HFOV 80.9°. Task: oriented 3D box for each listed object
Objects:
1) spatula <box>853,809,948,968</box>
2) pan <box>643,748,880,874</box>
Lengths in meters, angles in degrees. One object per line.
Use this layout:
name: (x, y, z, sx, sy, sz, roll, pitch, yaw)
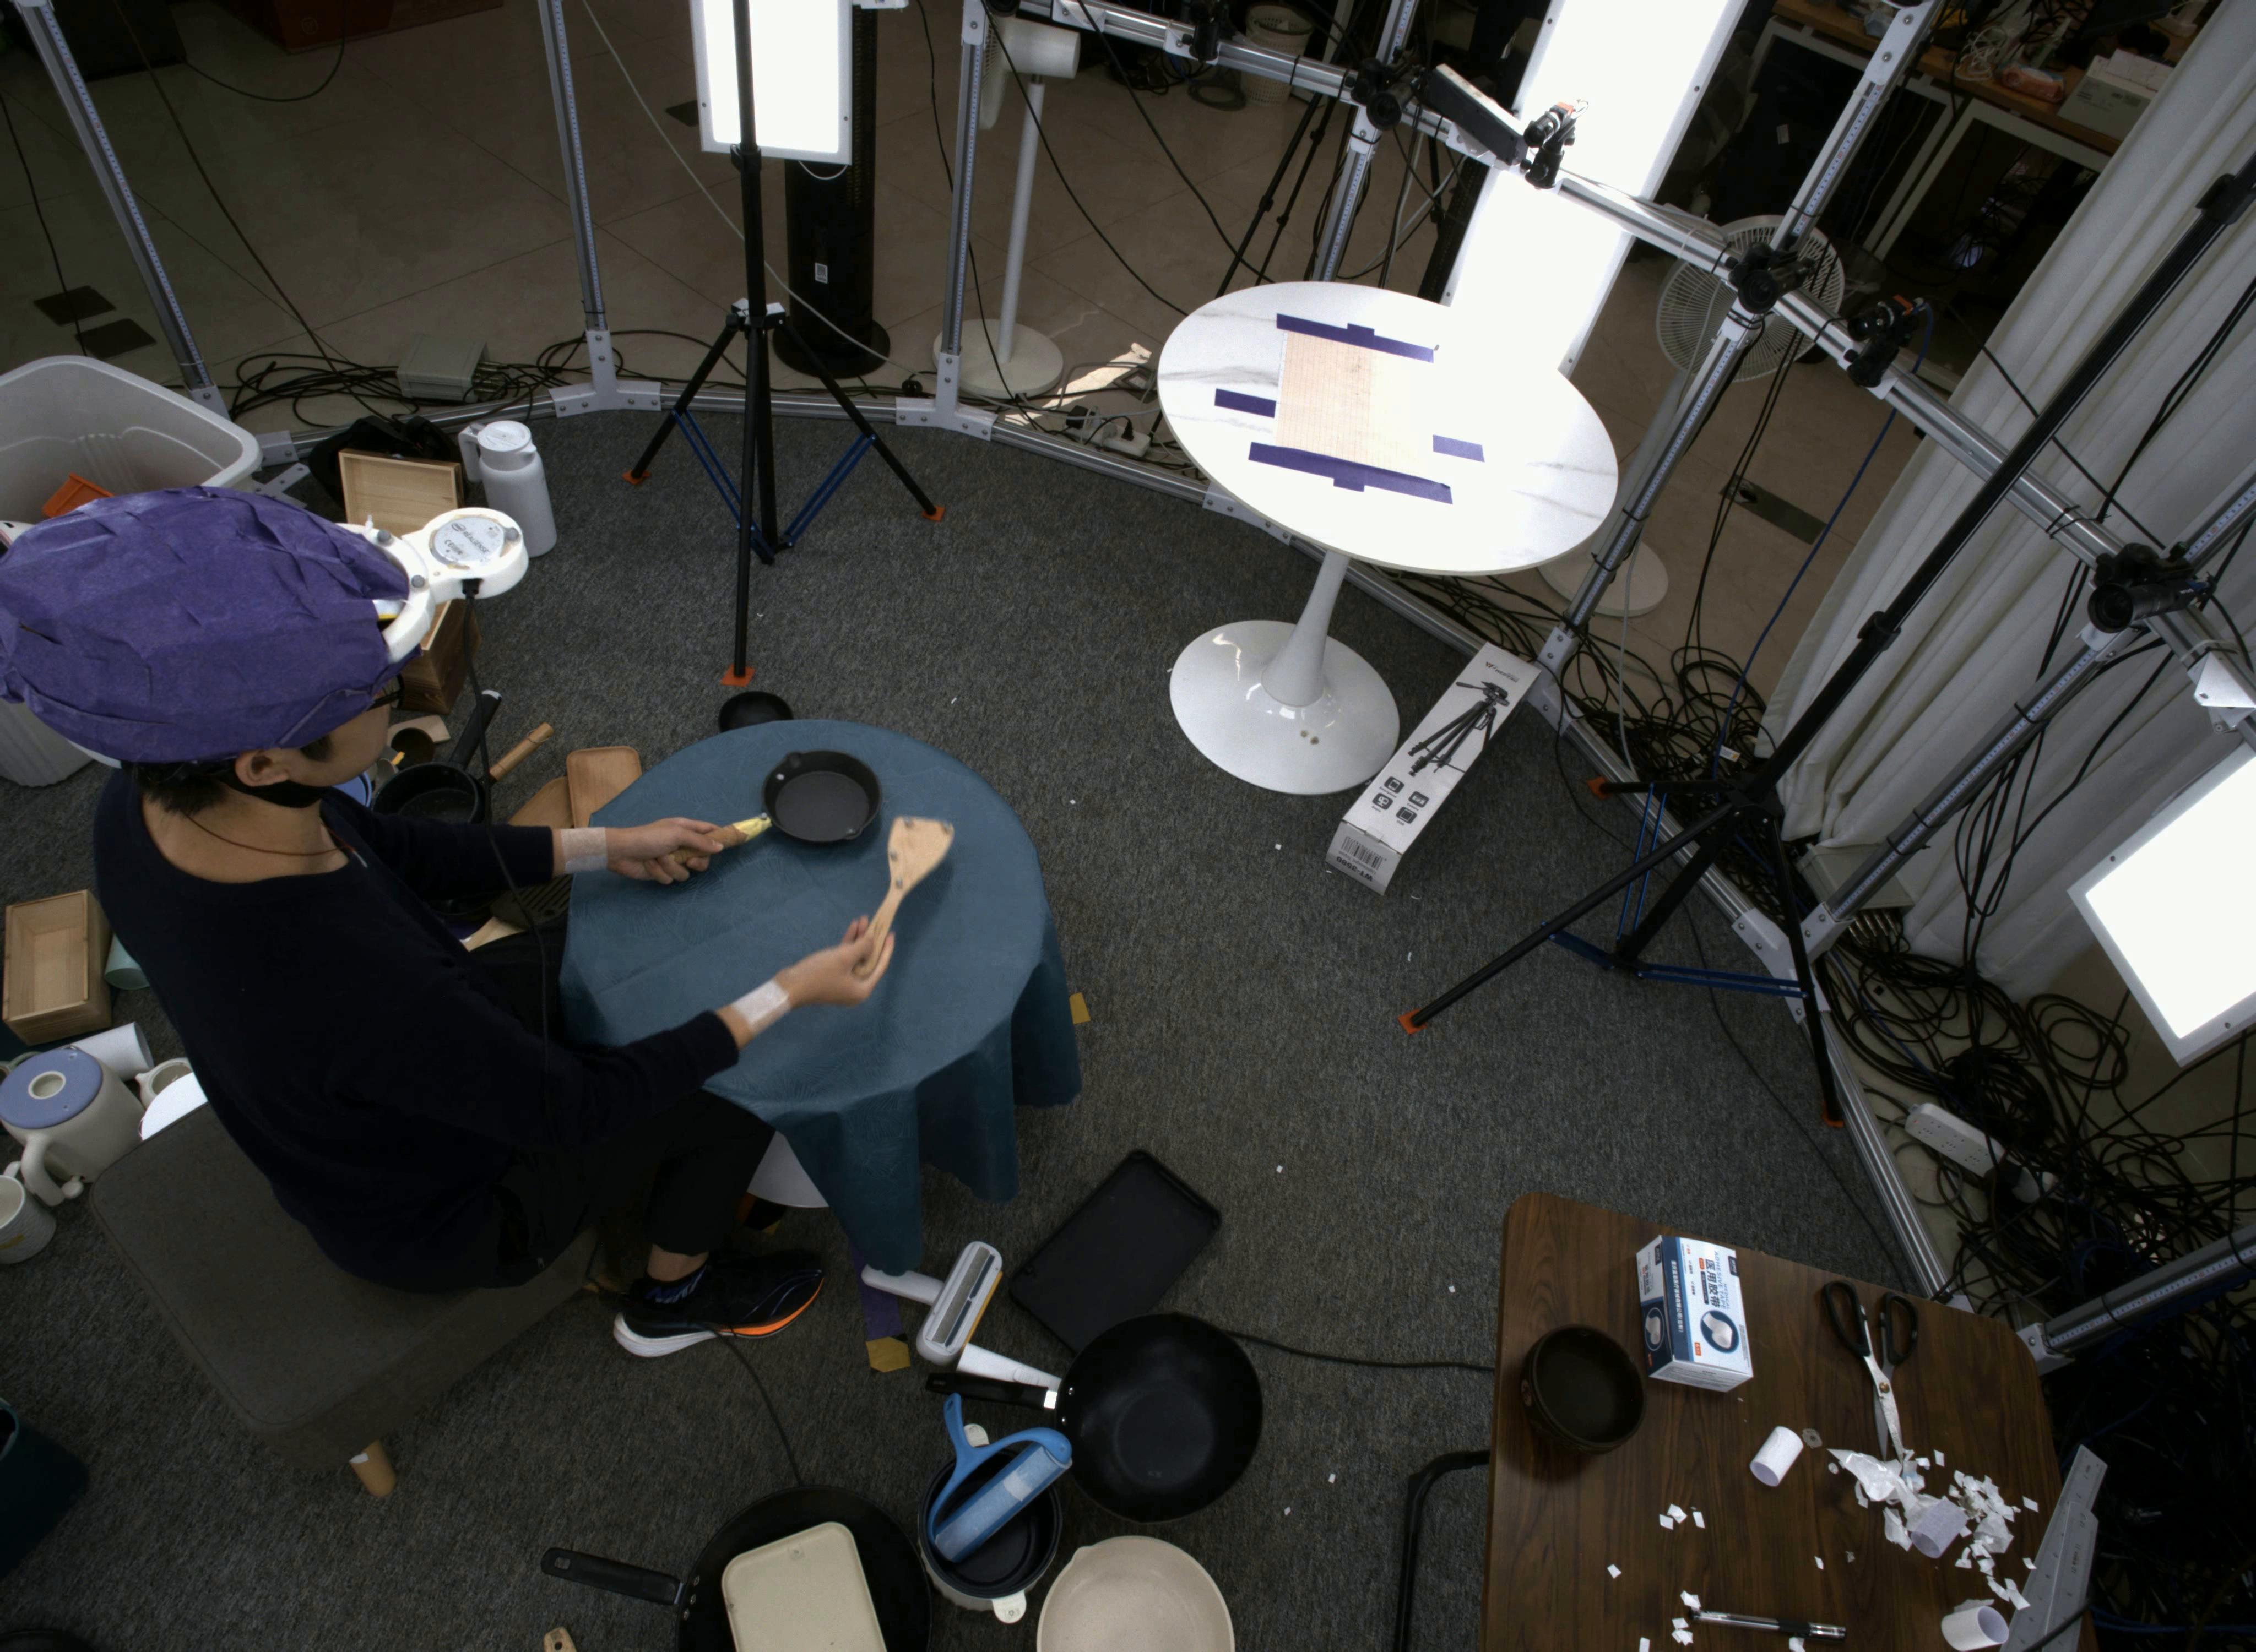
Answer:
spatula: (-0.284, 0.066, 1.572, 0.079, 0.017, 0.321, 12, 32, -3)
pan: (-0.474, -0.007, 1.673, 0.326, 0.050, 0.165, -25, 64, -31)
